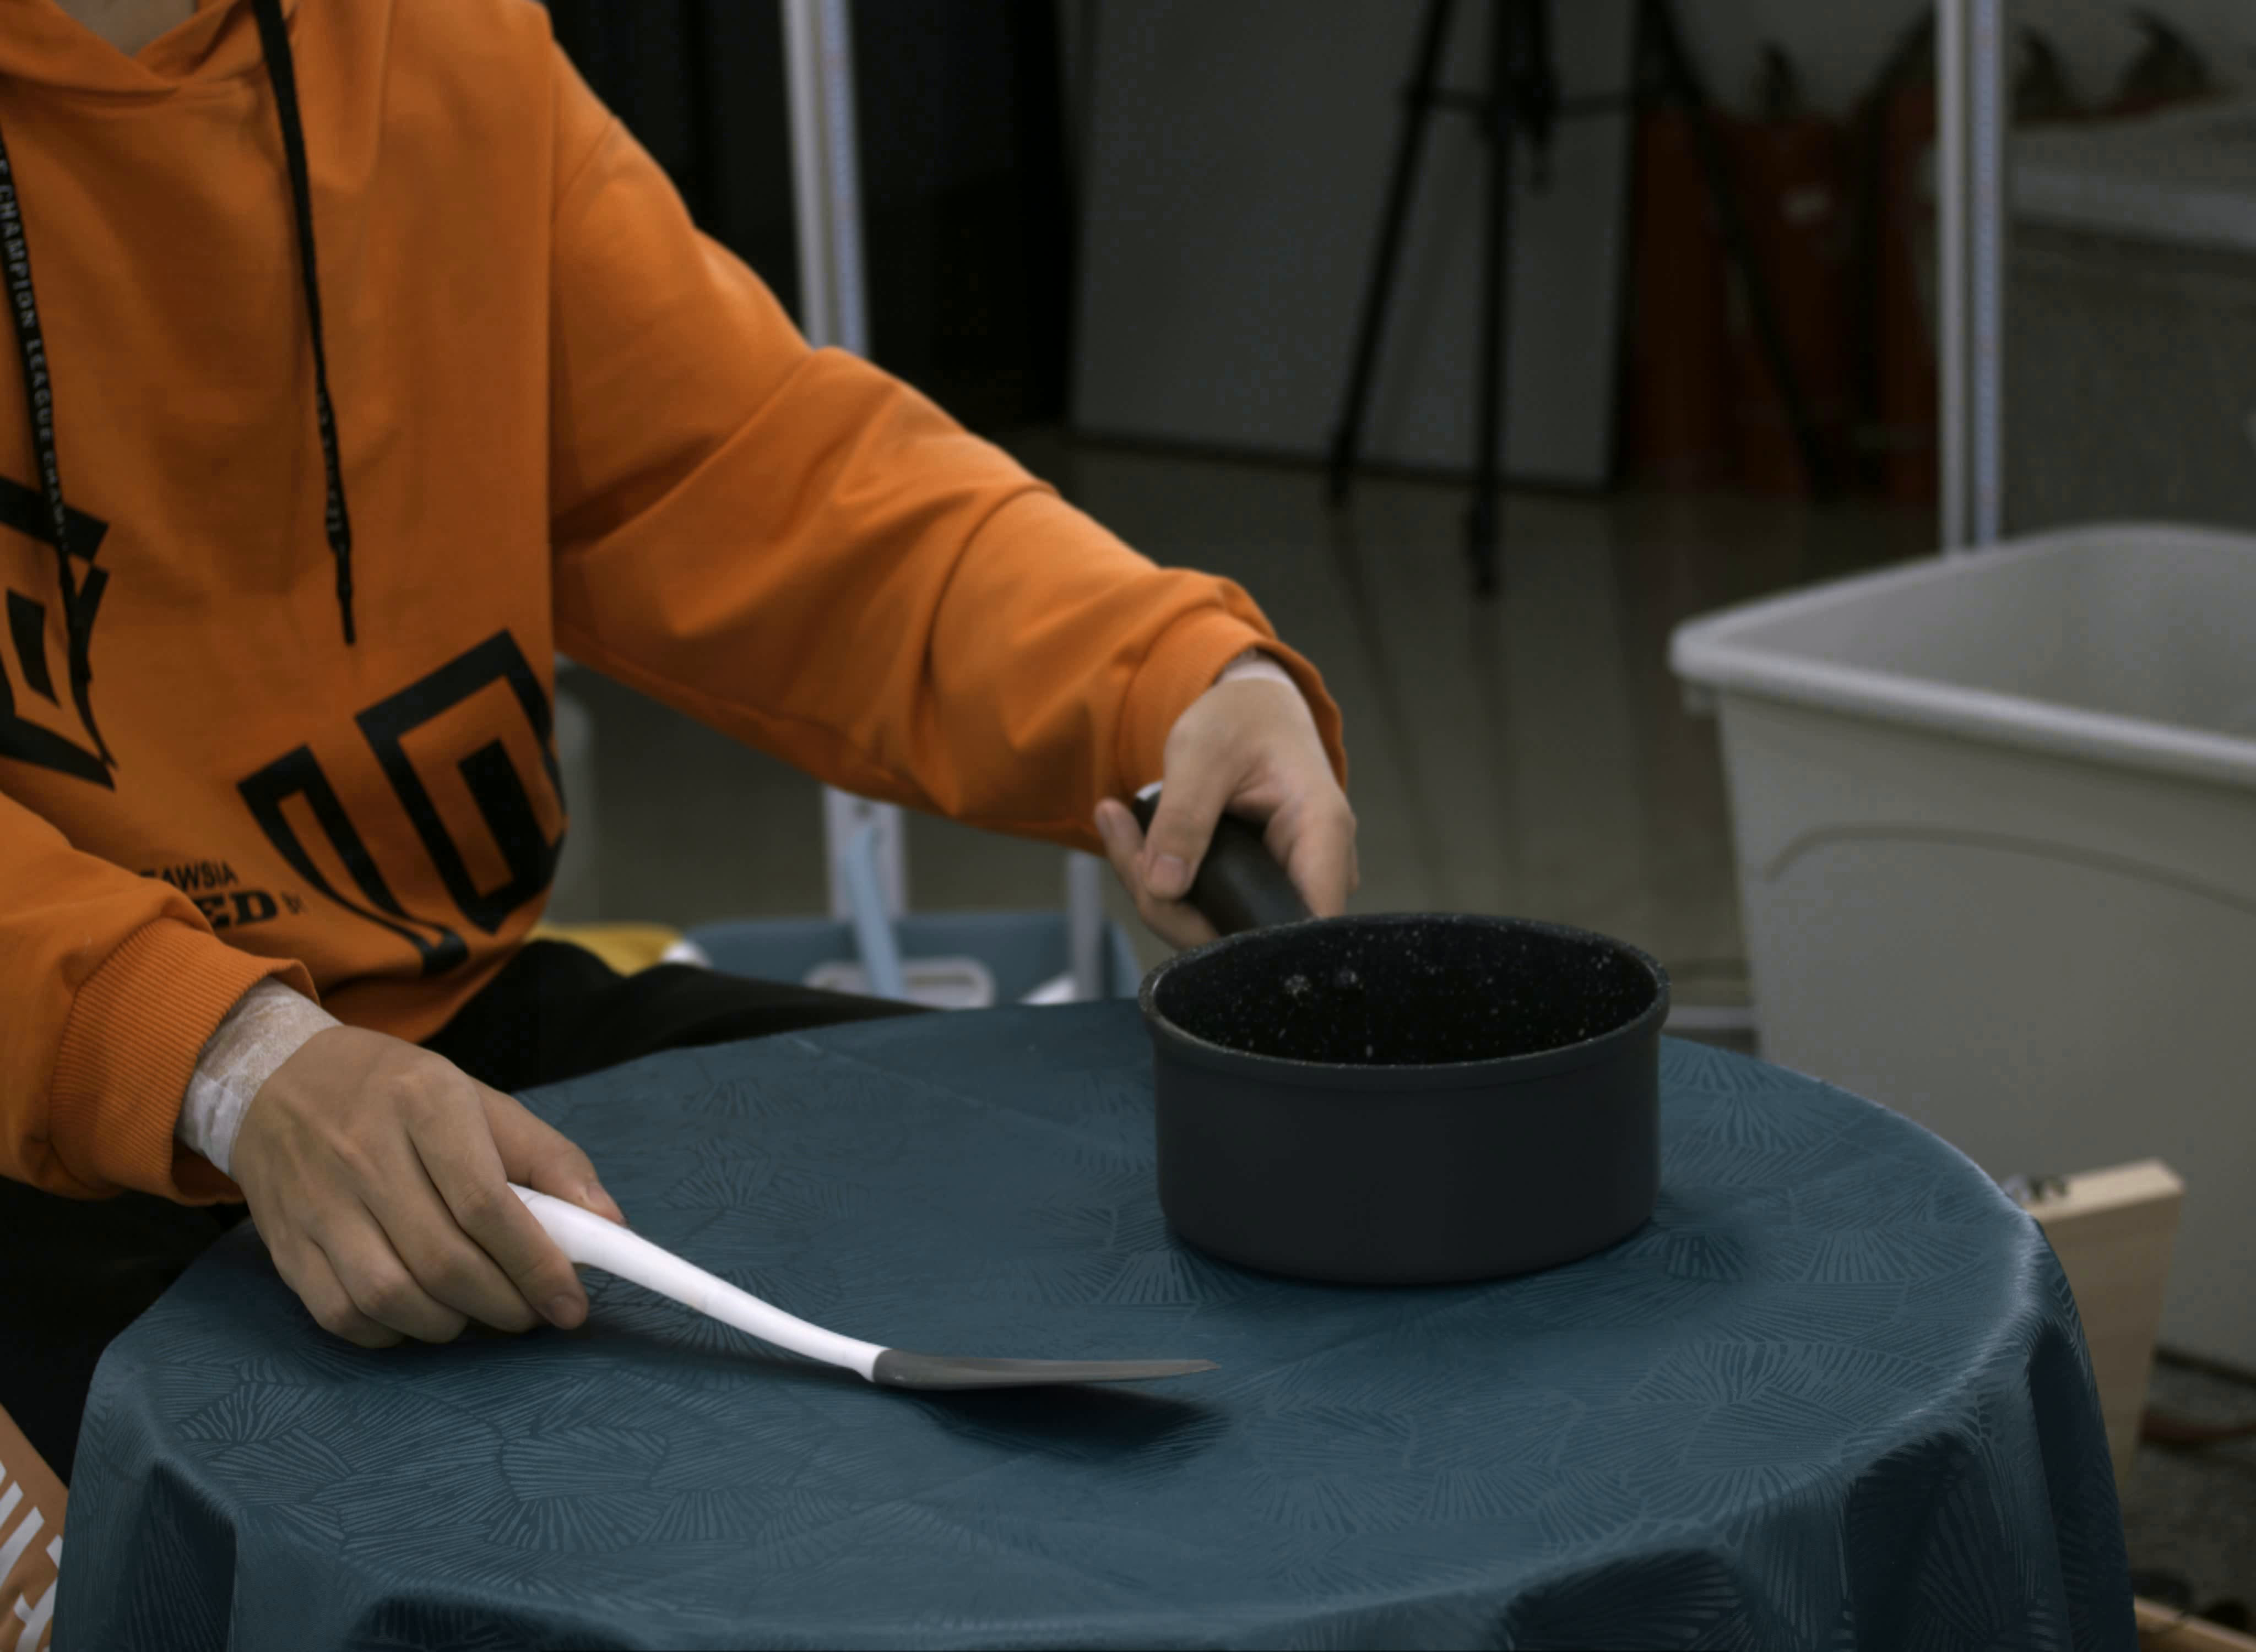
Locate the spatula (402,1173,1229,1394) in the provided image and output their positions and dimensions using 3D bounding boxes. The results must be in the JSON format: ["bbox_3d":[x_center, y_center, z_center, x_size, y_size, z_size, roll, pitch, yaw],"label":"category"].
[{"bbox_3d":[-0.099,0.145,1.621,0.289,0.032,0.057,10,0,33],"label":"spatula"}]

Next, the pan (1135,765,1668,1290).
[{"bbox_3d":[0.068,0.063,1.795,0.169,0.087,0.331,-7,17,-13],"label":"pan"}]
